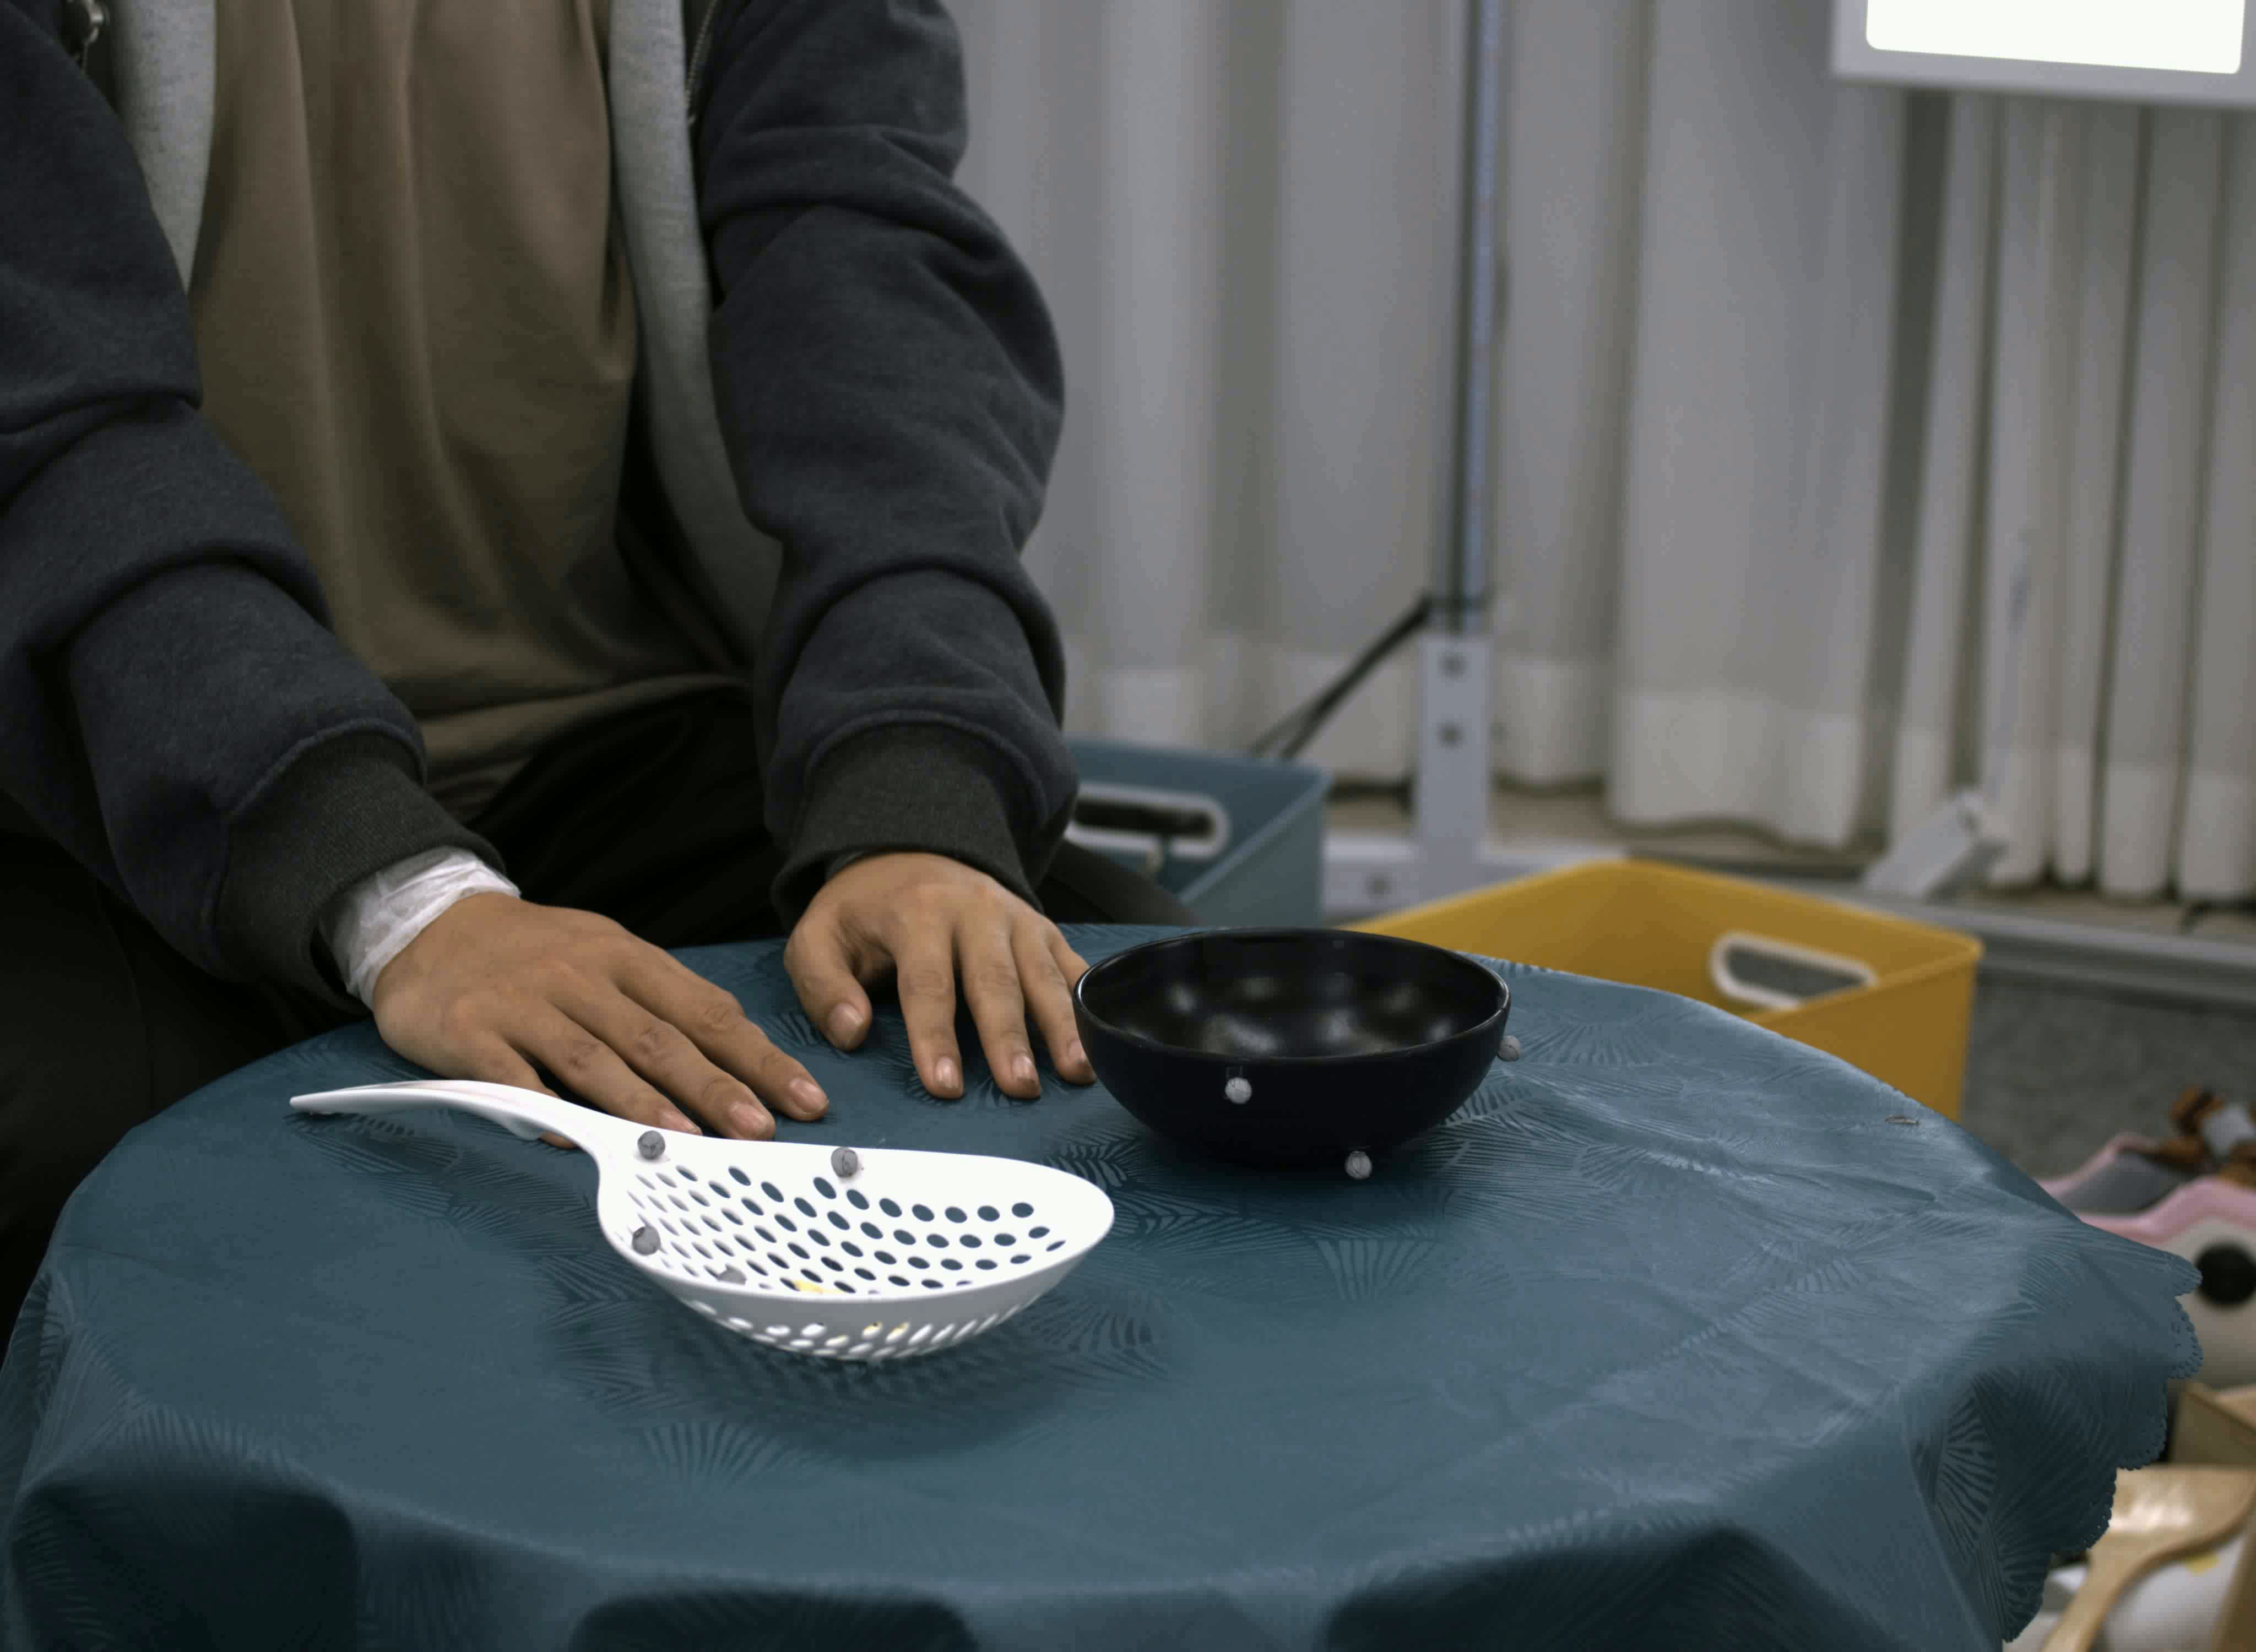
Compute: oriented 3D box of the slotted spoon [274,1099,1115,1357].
[{"bbox_3d":[-0.146,0.106,1.565,0.137,0.051,0.343,-18,23,-40],"label":"slotted spoon"}]
